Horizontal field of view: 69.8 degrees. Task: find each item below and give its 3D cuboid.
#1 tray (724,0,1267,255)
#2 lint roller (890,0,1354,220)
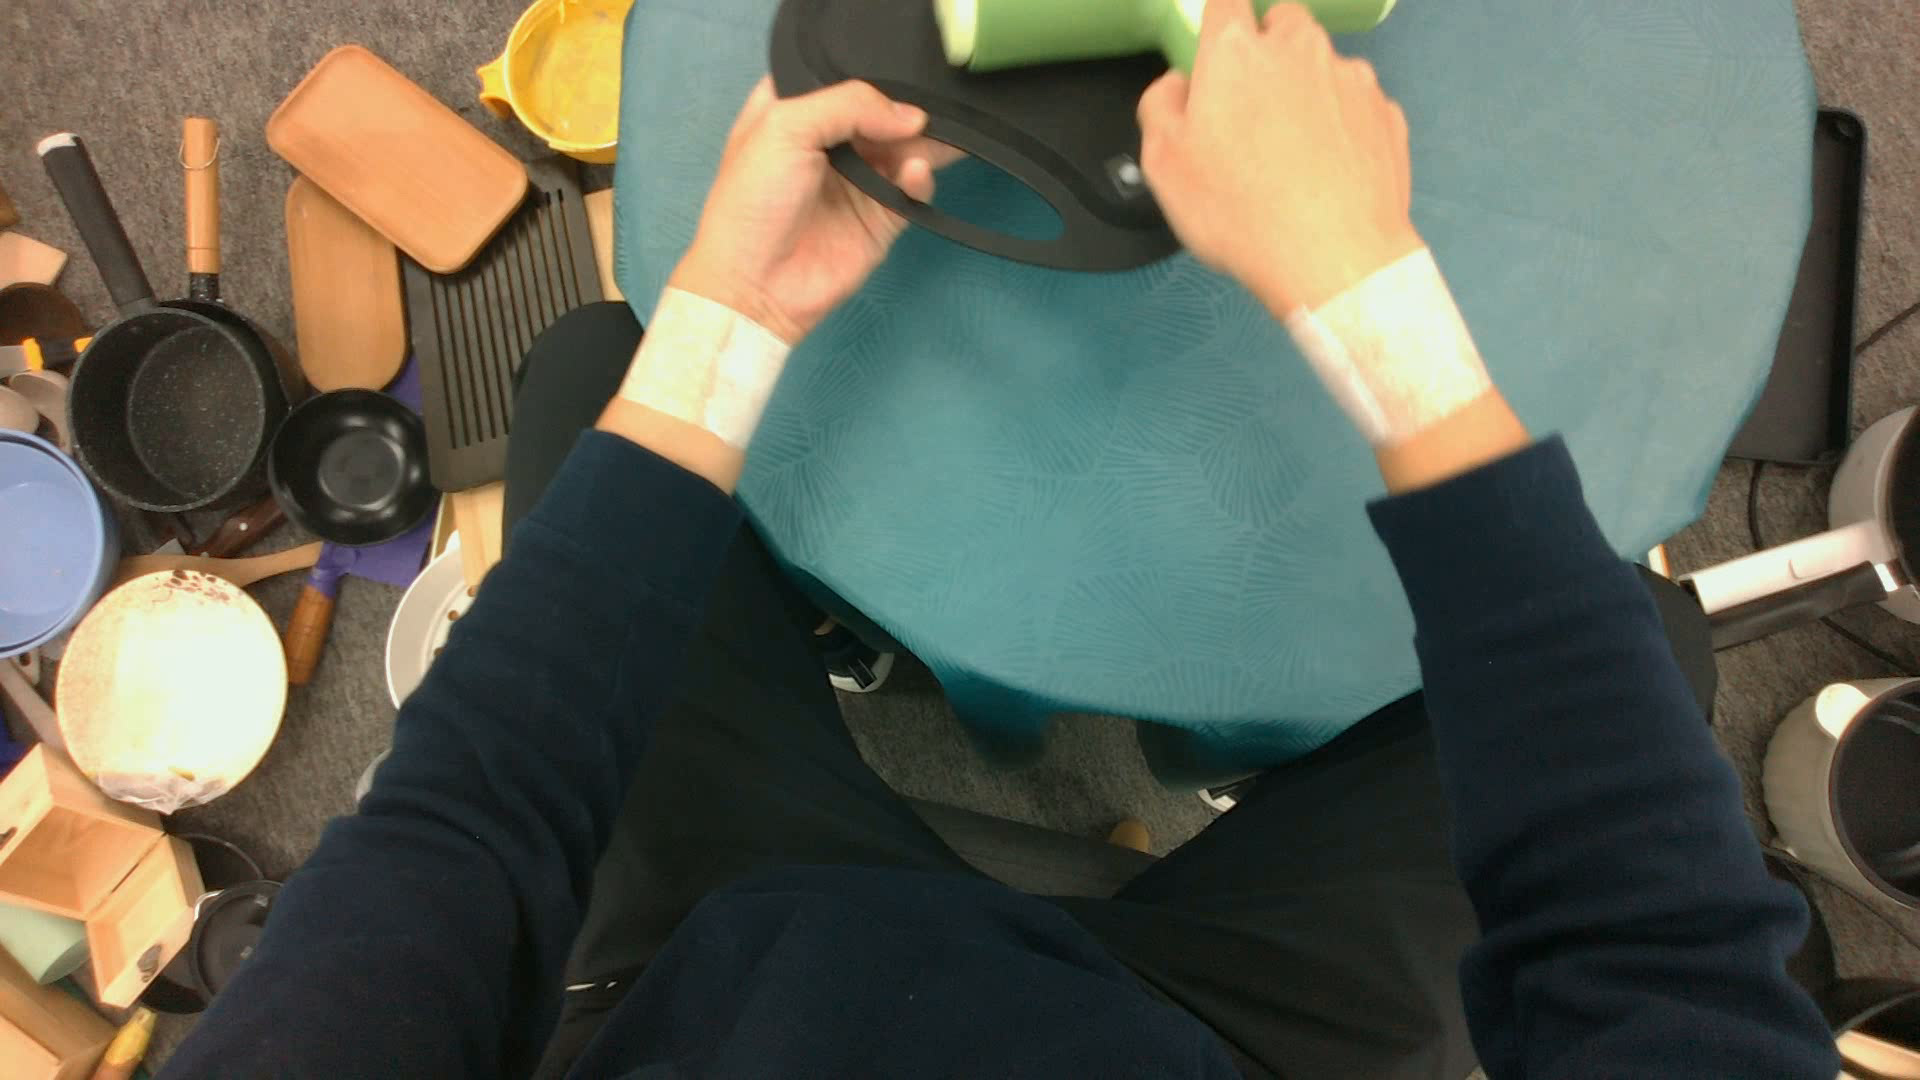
[{"bbox_3d":[0.038,-0.275,0.620,0.211,0.010,0.326,24,71,1],"label":"tray"},{"bbox_3d":[0.085,-0.203,0.539,0.199,0.082,0.184,-12,44,-10],"label":"lint roller"}]
